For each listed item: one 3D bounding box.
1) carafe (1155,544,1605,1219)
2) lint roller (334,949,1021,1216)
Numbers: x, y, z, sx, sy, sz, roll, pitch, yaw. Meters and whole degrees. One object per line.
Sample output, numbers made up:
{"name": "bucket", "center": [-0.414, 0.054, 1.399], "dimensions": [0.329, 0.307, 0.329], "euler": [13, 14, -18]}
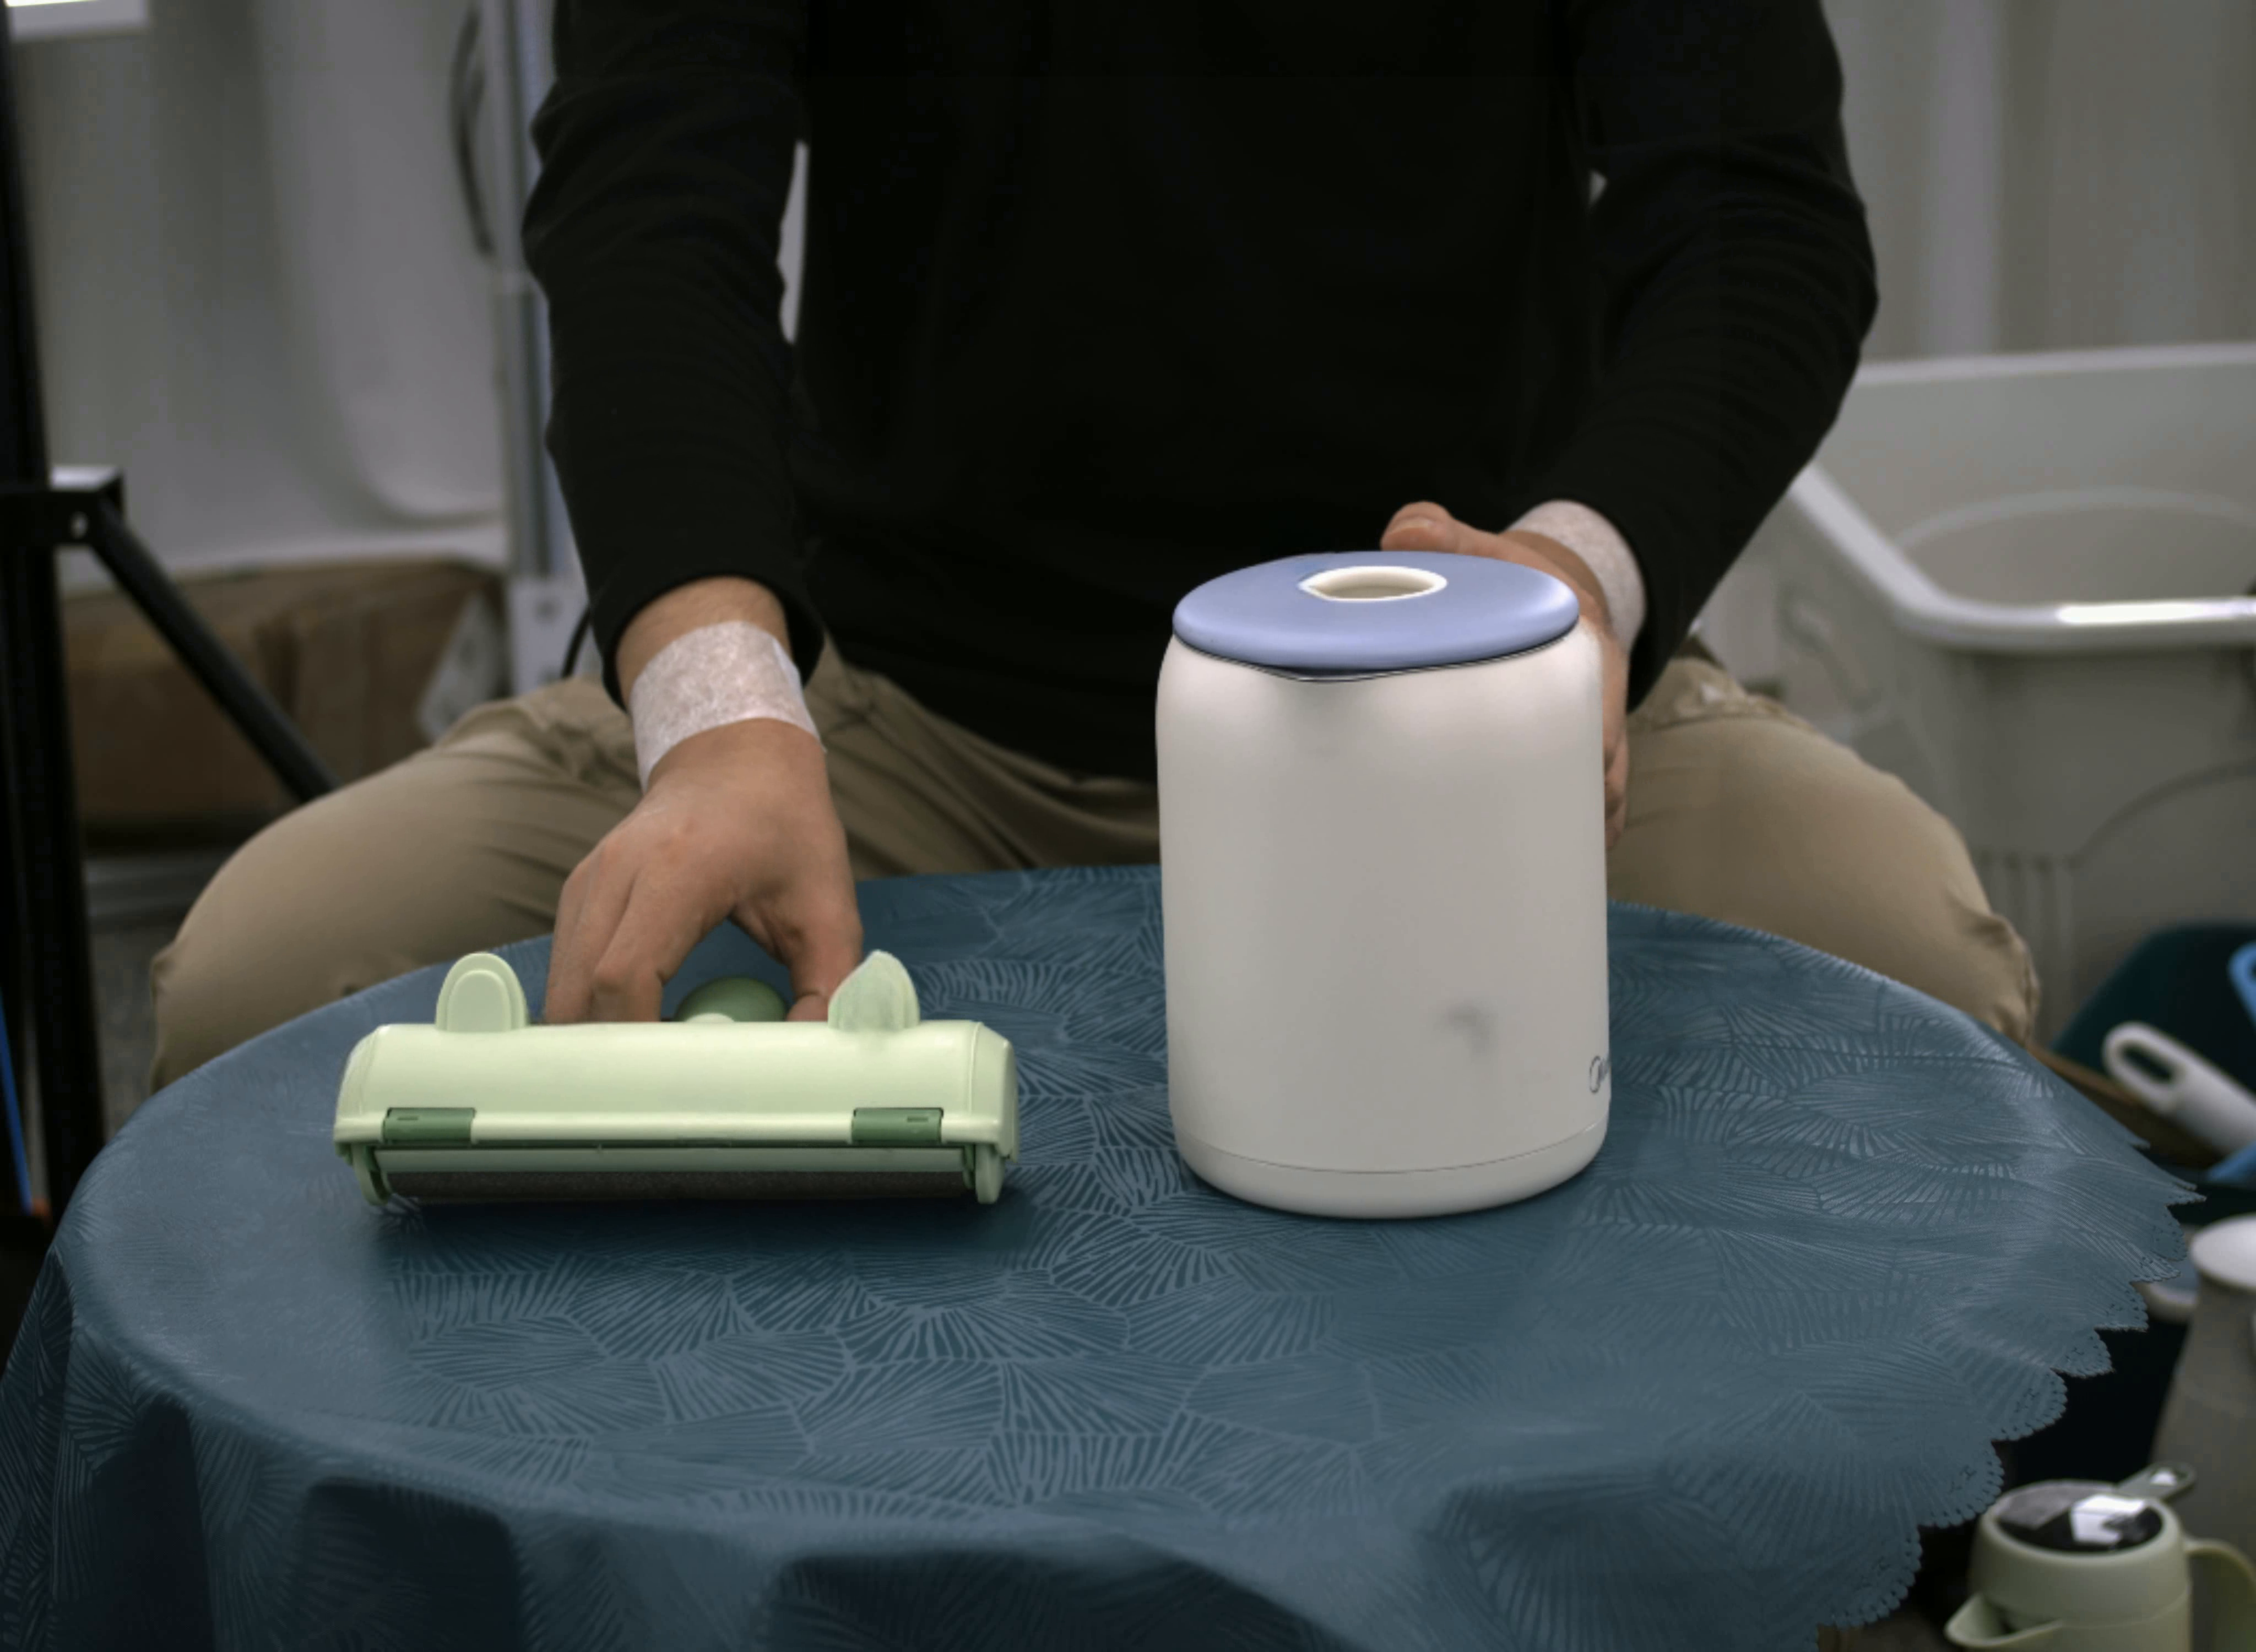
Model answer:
{"name": "carafe", "center": [0.081, 0.009, 1.579], "dimensions": [0.133, 0.182, 0.189], "euler": [3, 14, 15]}
{"name": "lint roller", "center": [-0.126, 0.060, 1.605], "dimensions": [0.198, 0.082, 0.183], "euler": [0, 19, 6]}
